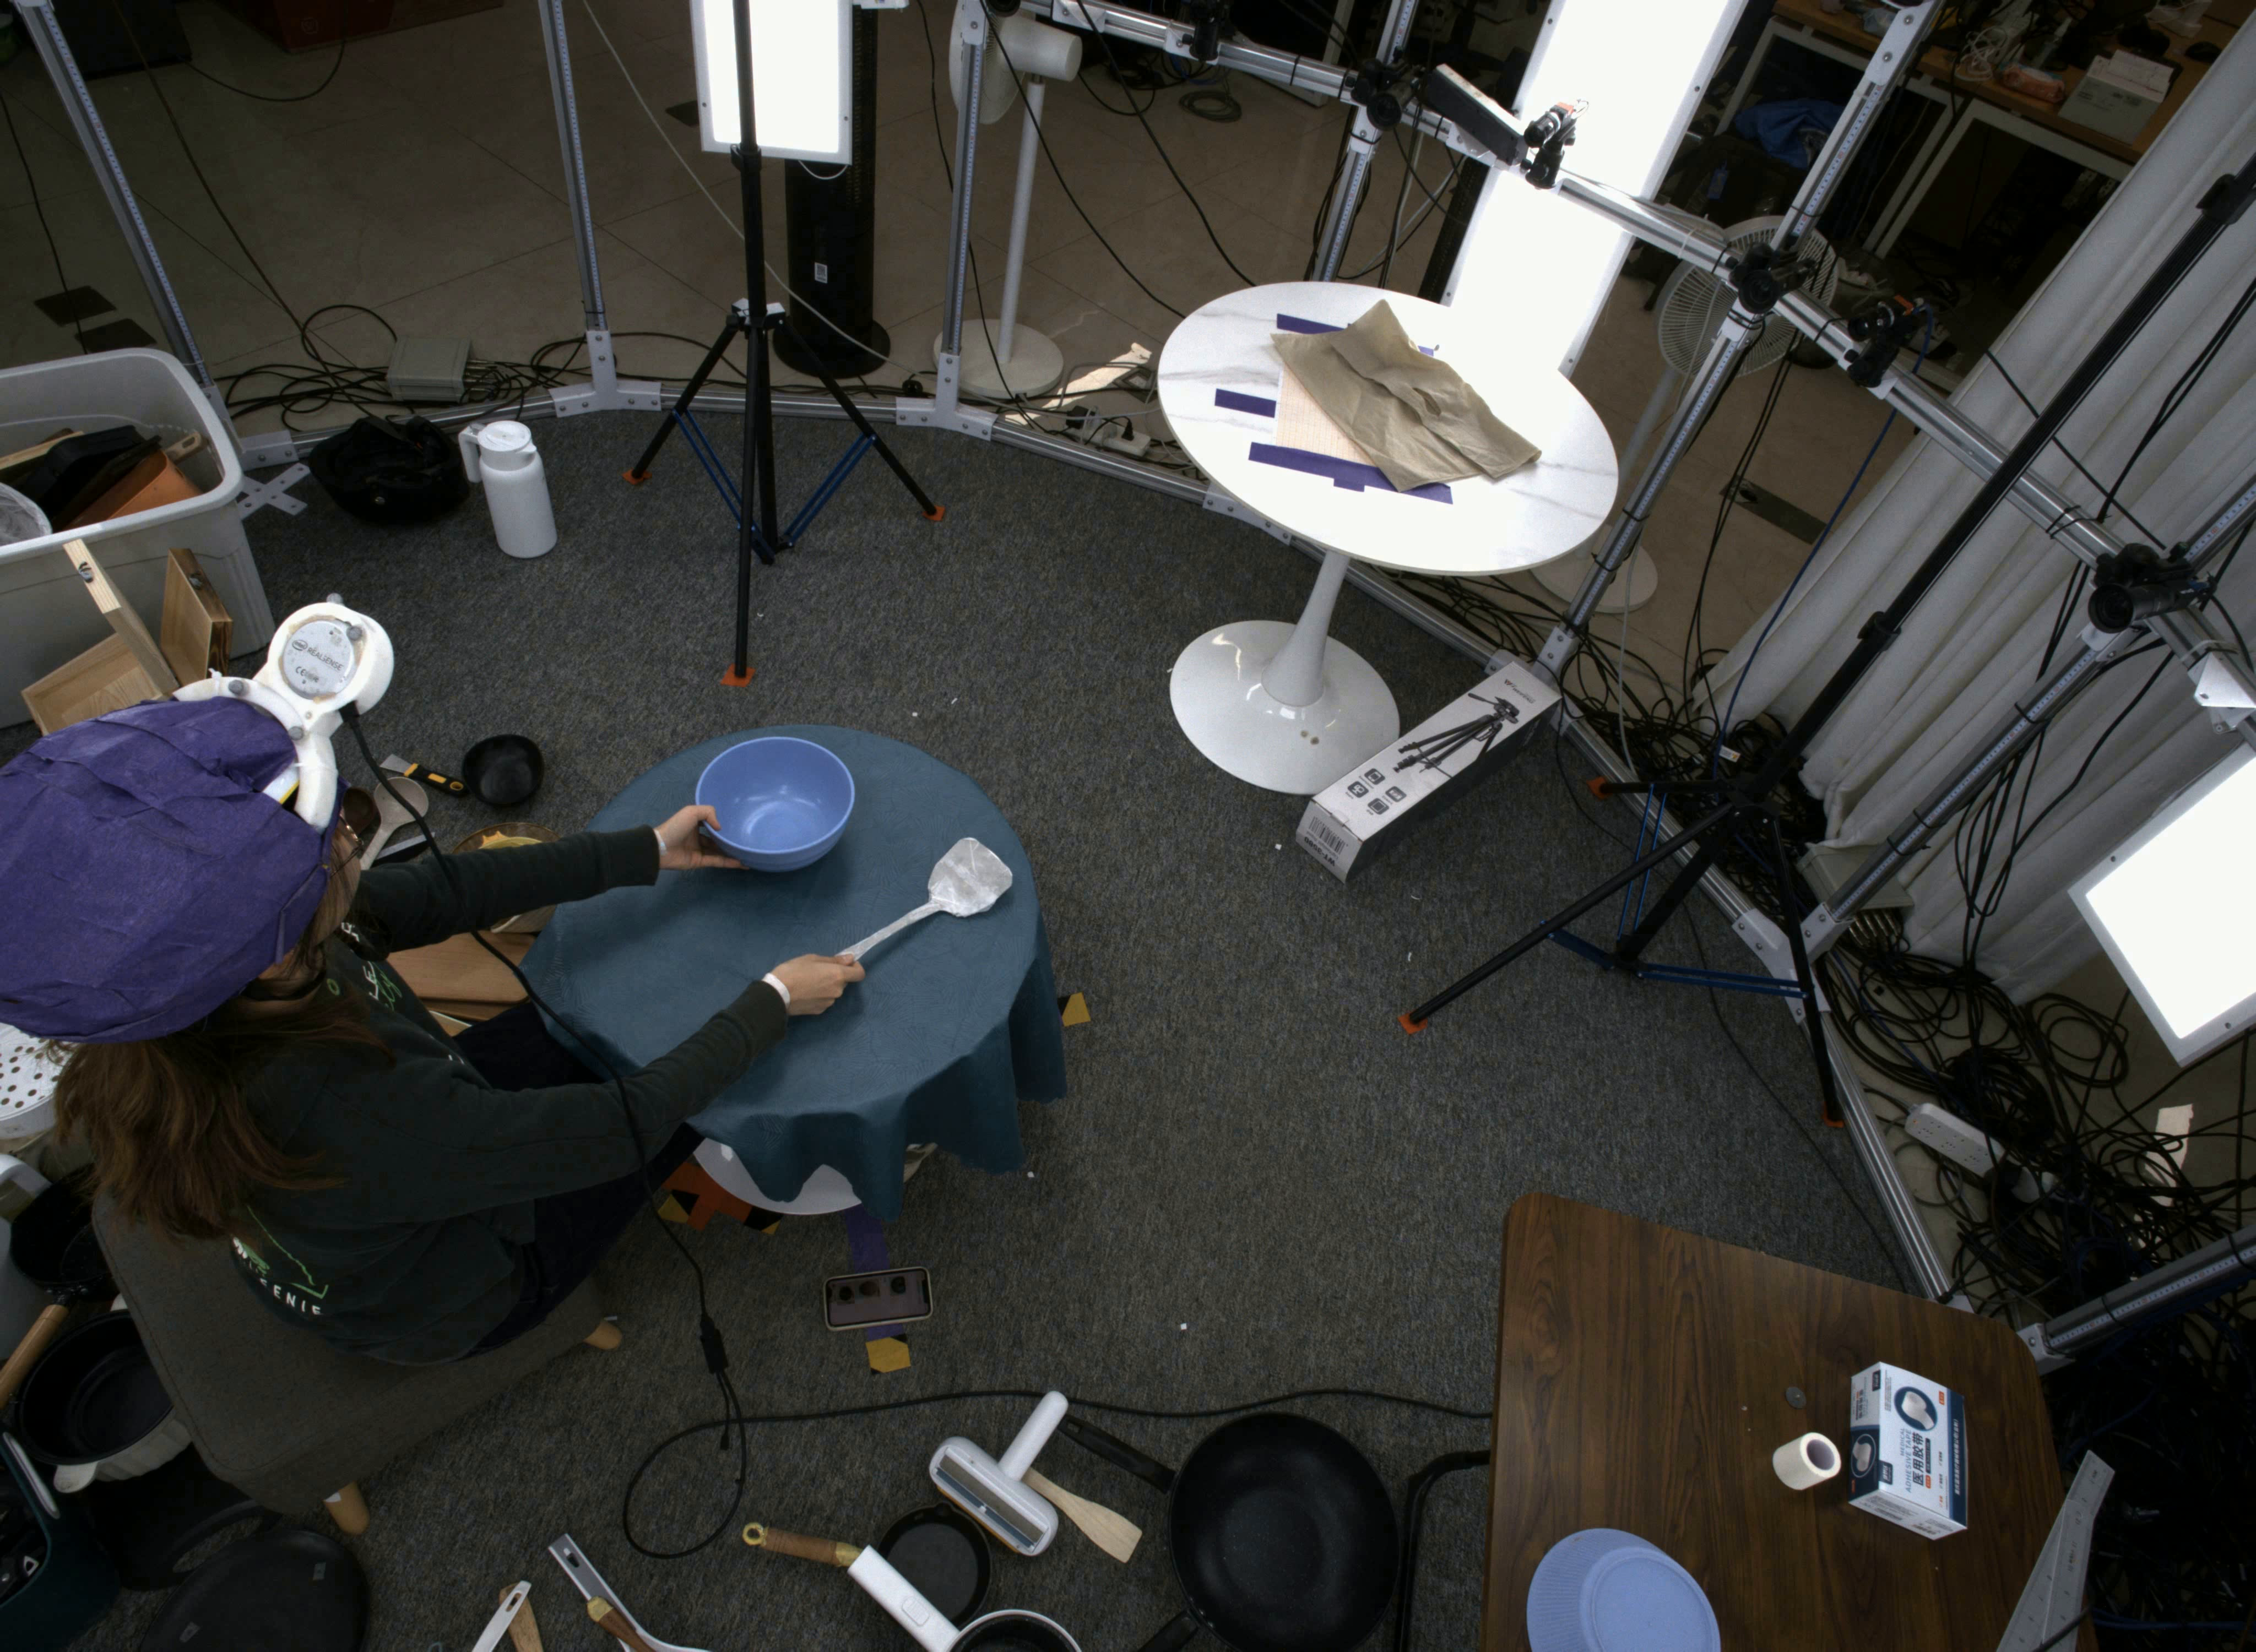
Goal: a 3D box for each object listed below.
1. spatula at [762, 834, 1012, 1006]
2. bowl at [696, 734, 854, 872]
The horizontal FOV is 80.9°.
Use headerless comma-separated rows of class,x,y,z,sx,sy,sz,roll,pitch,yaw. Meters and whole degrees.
spatula,-0.301,0.124,1.631,0.097,0.045,0.366,45,50,16
bowl,-0.452,-0.015,1.668,0.196,0.097,0.193,8,50,-8
